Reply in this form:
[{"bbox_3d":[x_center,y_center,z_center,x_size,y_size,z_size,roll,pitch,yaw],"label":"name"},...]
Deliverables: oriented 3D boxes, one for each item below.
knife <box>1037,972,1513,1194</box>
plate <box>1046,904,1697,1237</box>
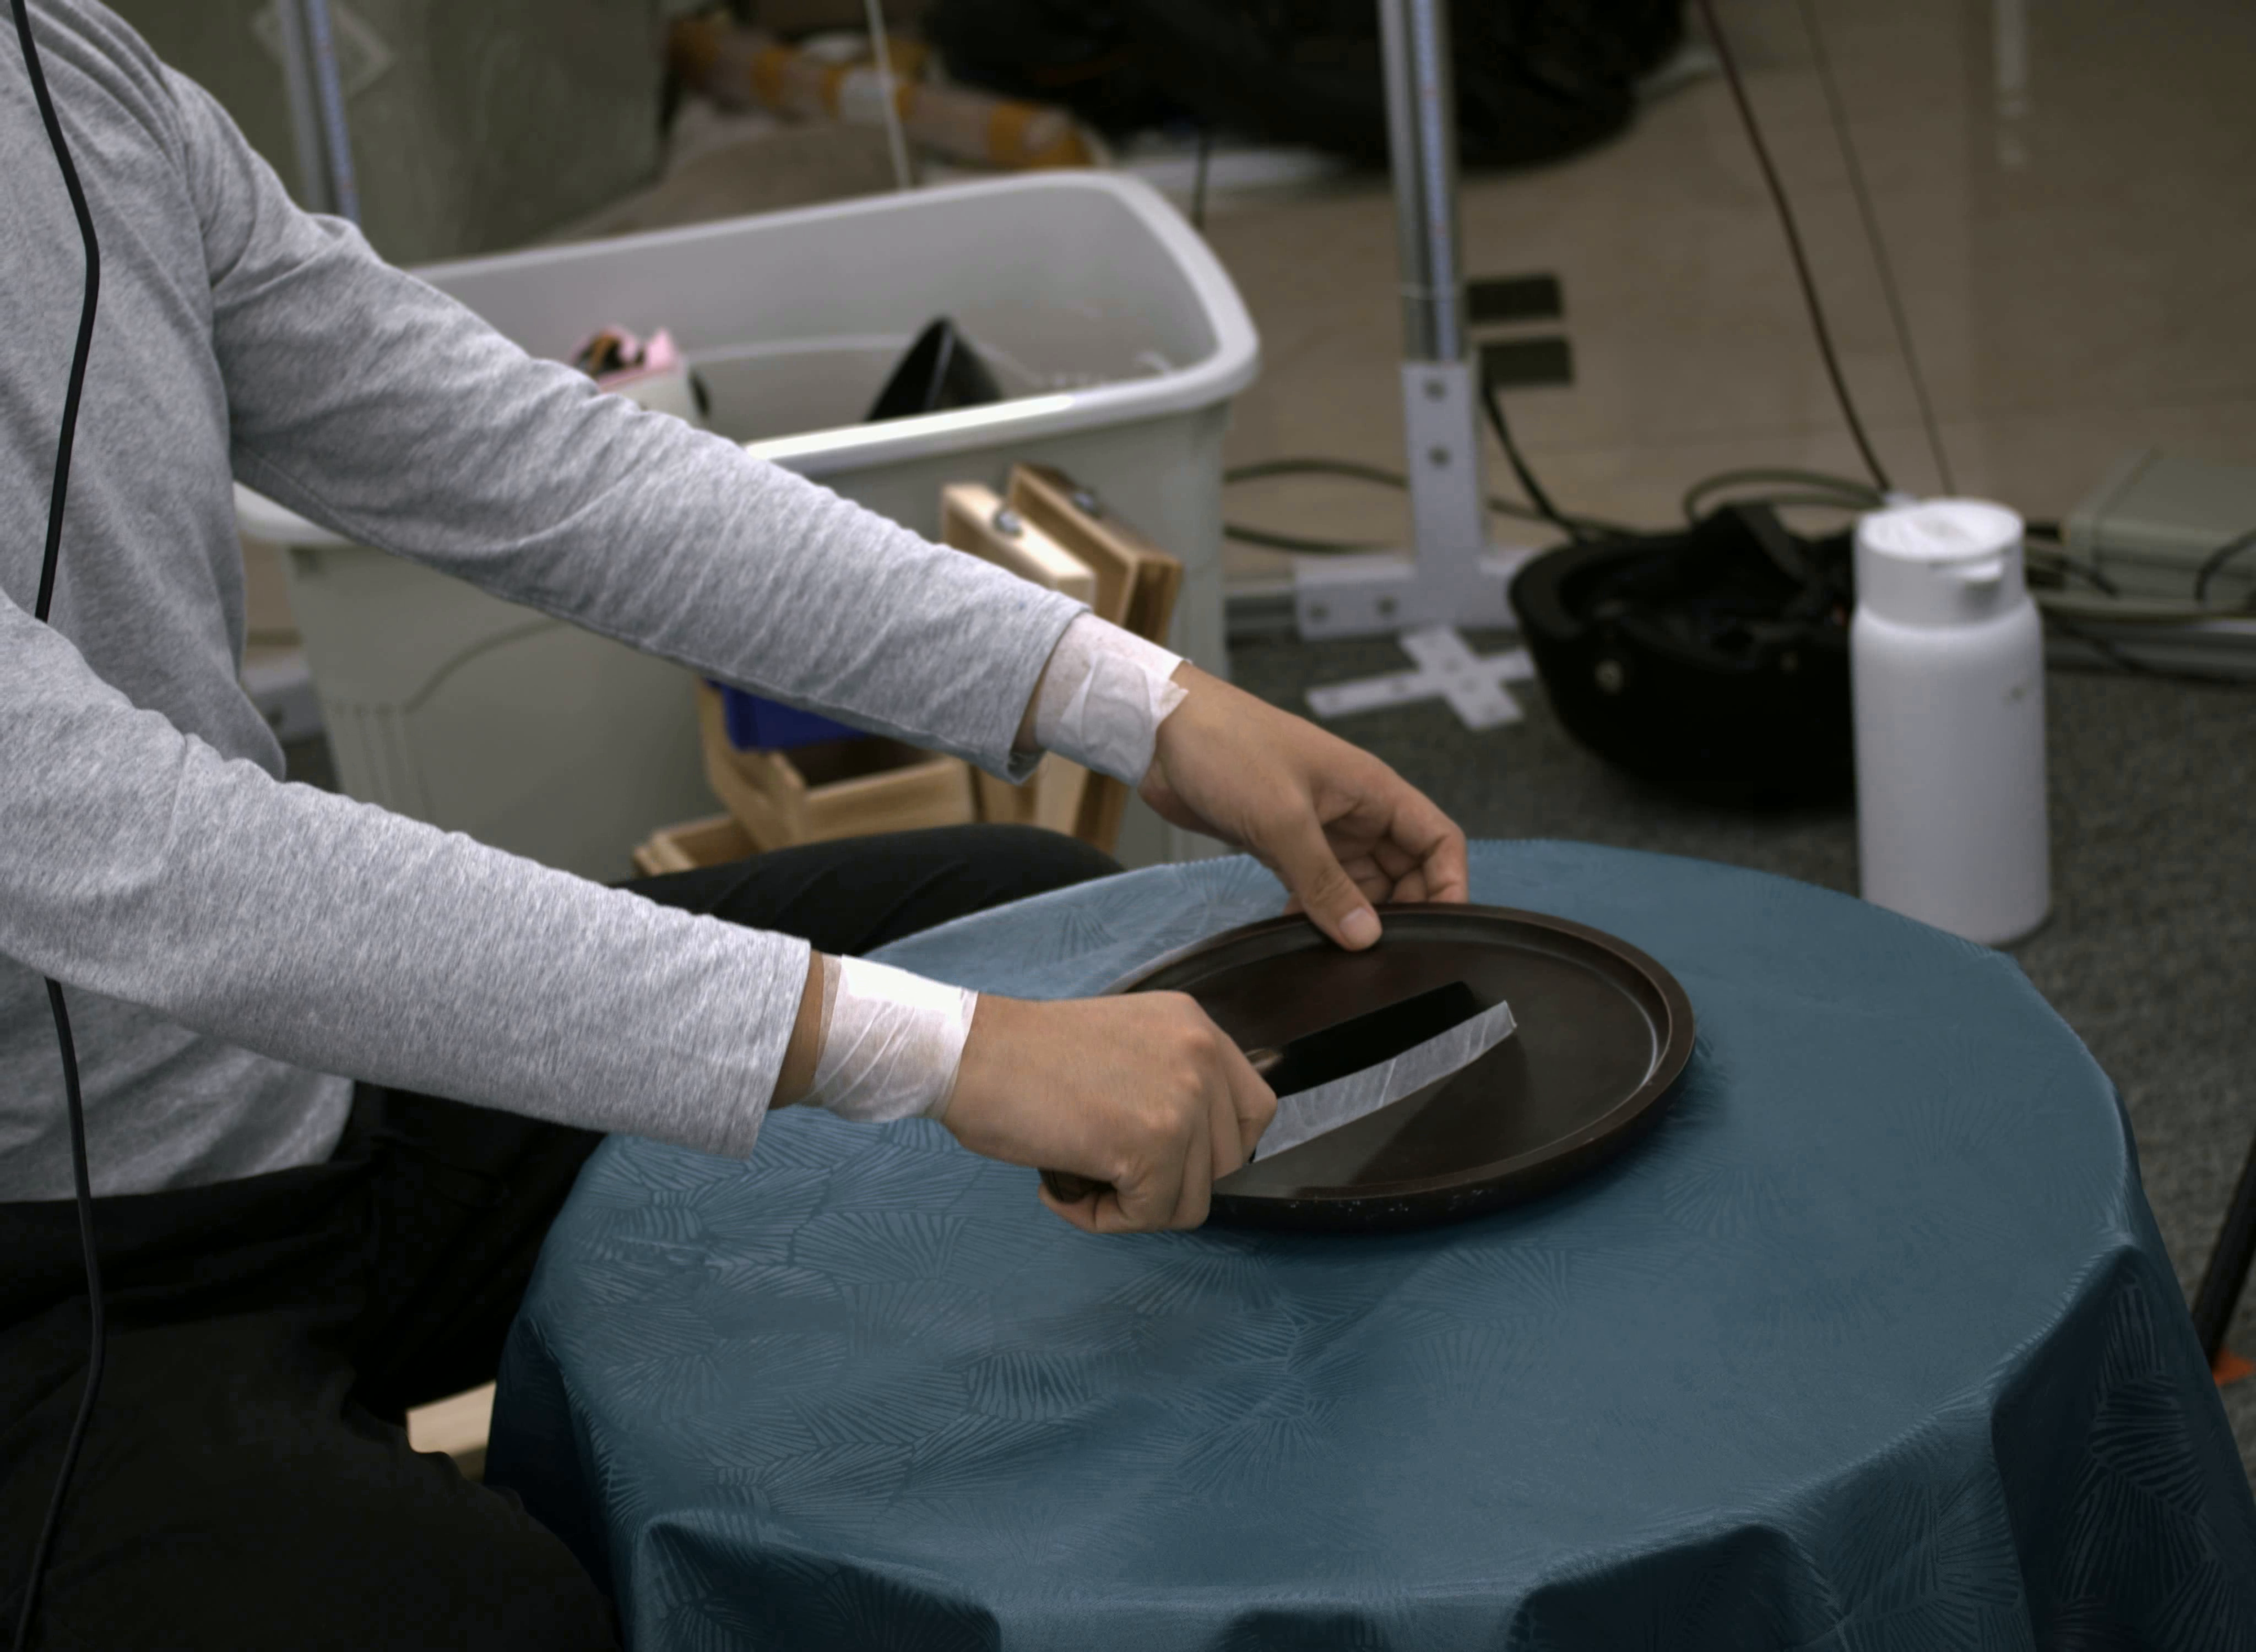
[{"bbox_3d":[0.061,0.095,2.098,0.020,0.051,0.288,21,22,34],"label":"knife"},{"bbox_3d":[0.094,0.093,2.199,0.254,0.029,0.251,-7,26,3],"label":"plate"}]
